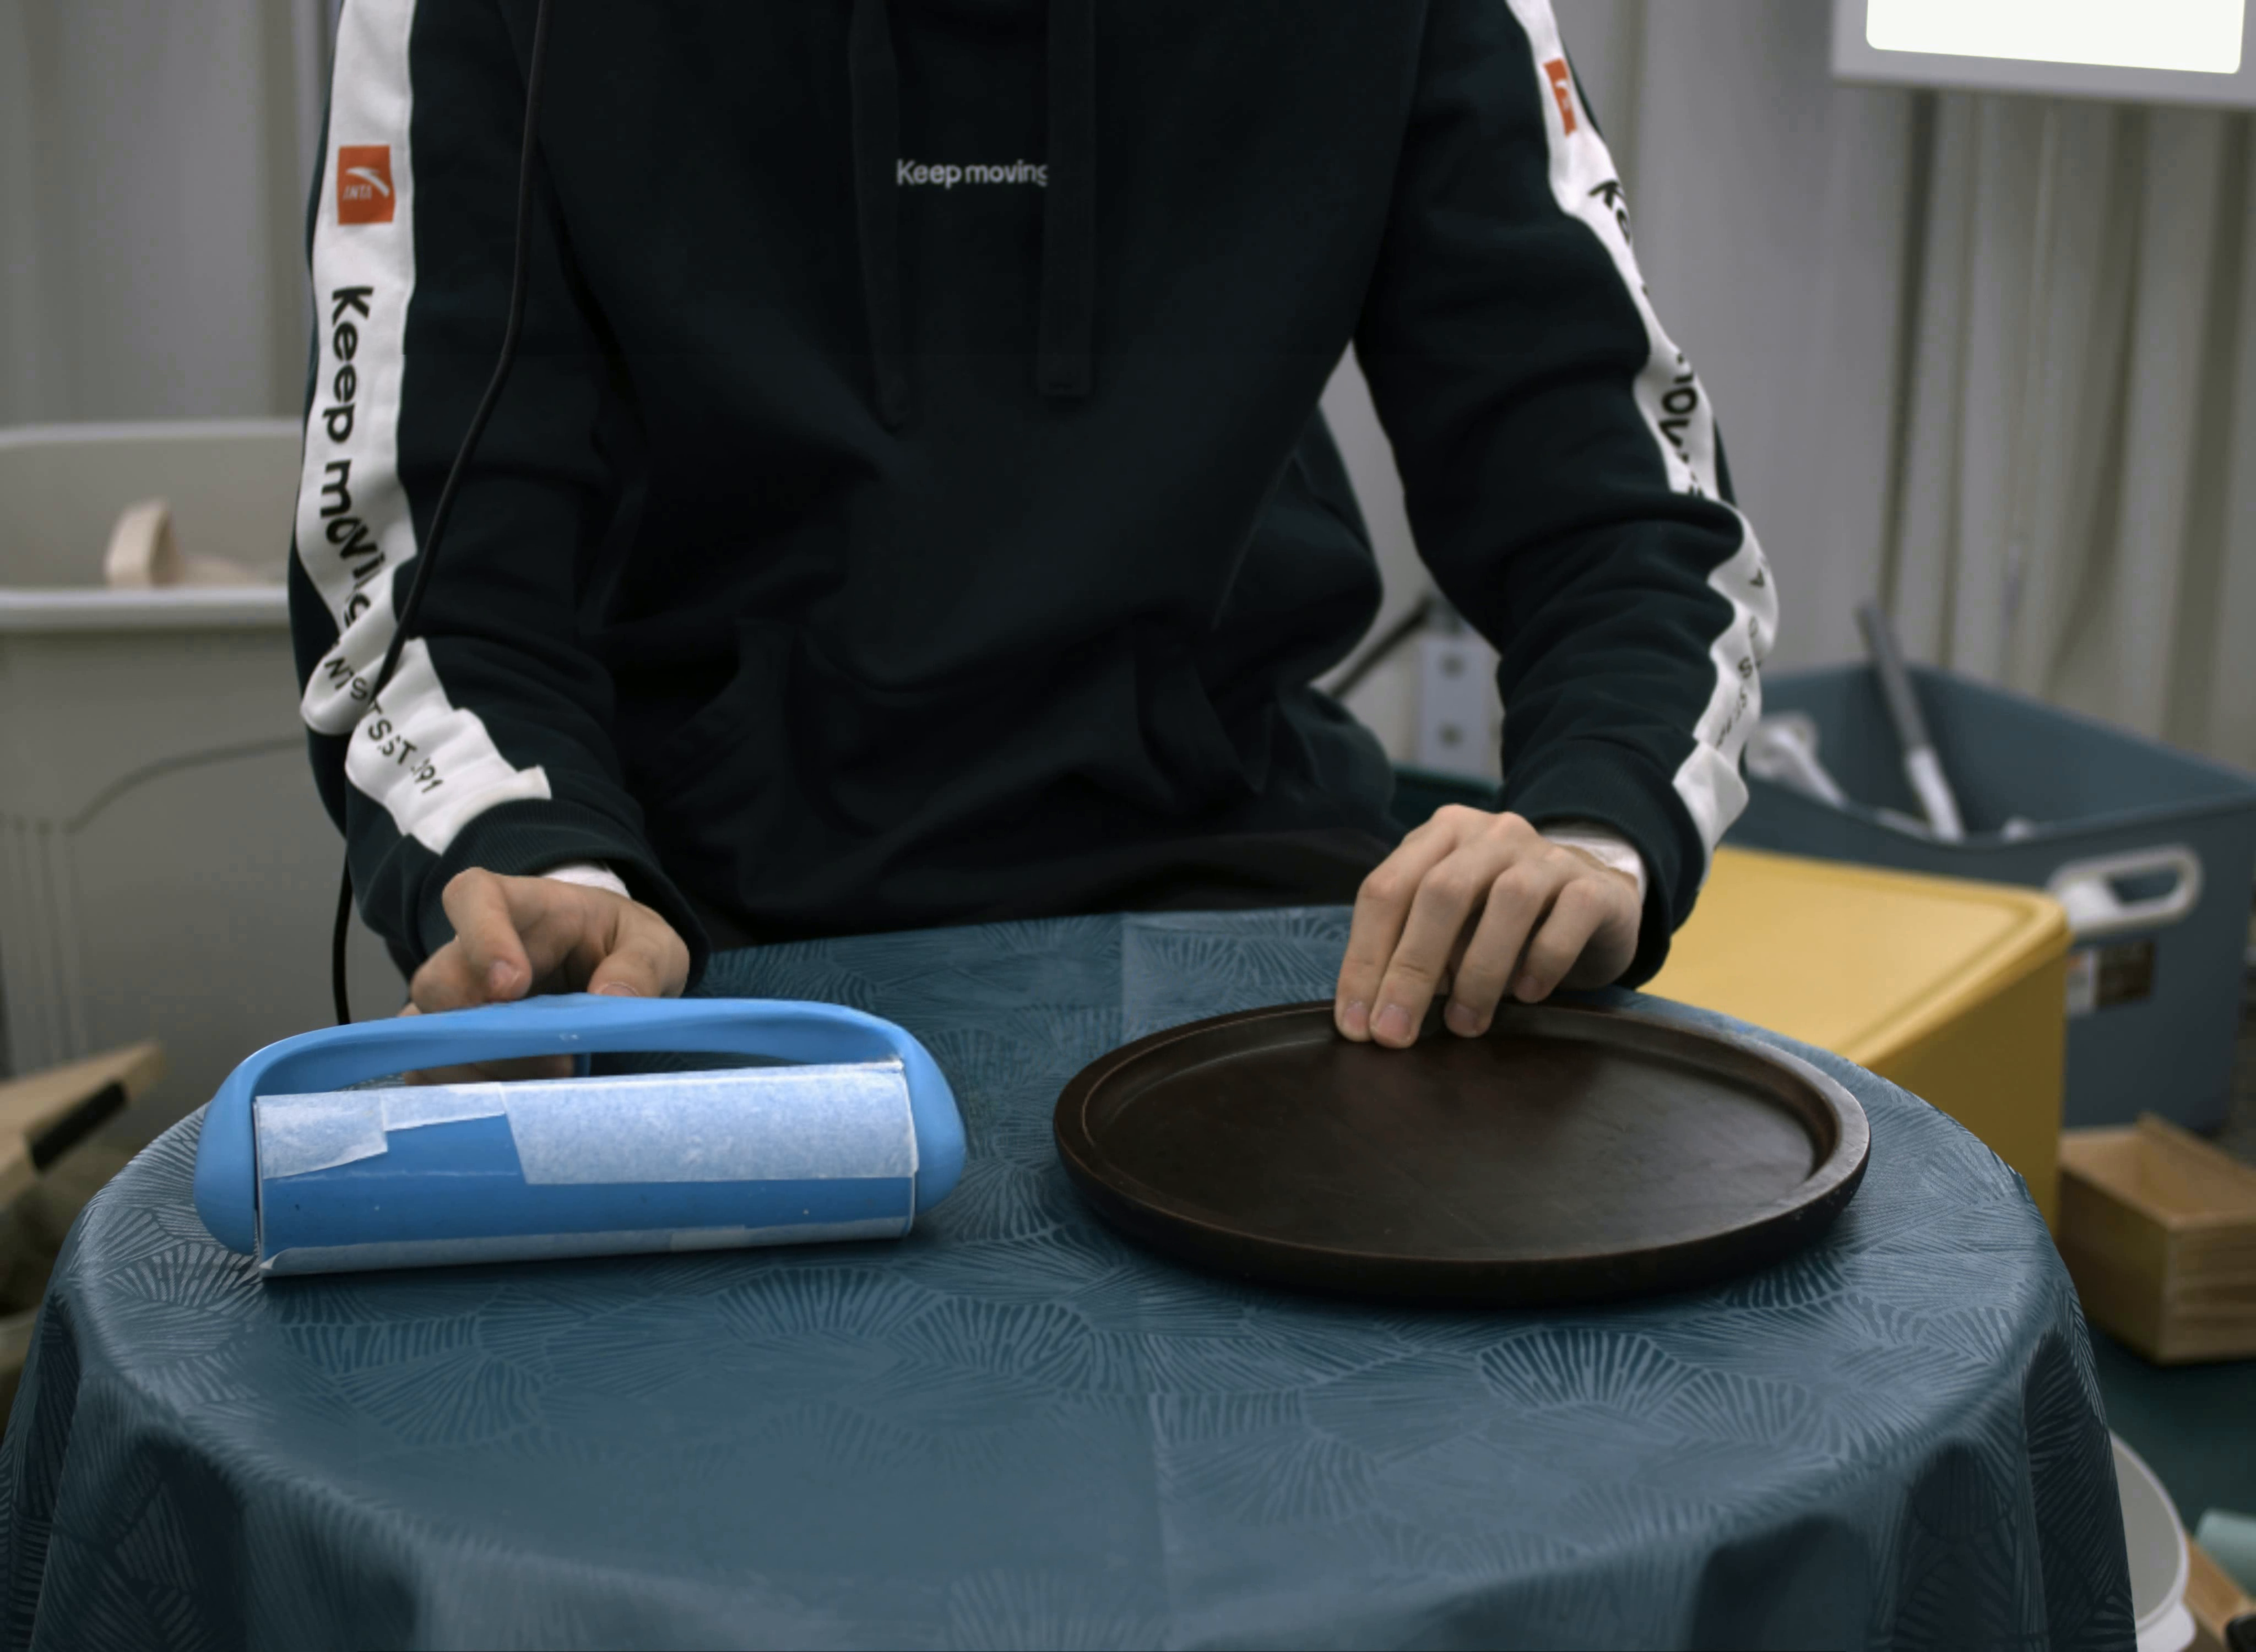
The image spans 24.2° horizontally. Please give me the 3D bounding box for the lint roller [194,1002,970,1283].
[{"bbox_3d":[-0.174,0.084,1.608,0.229,0.068,0.178,-5,17,-13],"label":"lint roller"}]

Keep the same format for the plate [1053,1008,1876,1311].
[{"bbox_3d":[0.103,0.099,1.625,0.254,0.029,0.253,2,16,0],"label":"plate"}]
